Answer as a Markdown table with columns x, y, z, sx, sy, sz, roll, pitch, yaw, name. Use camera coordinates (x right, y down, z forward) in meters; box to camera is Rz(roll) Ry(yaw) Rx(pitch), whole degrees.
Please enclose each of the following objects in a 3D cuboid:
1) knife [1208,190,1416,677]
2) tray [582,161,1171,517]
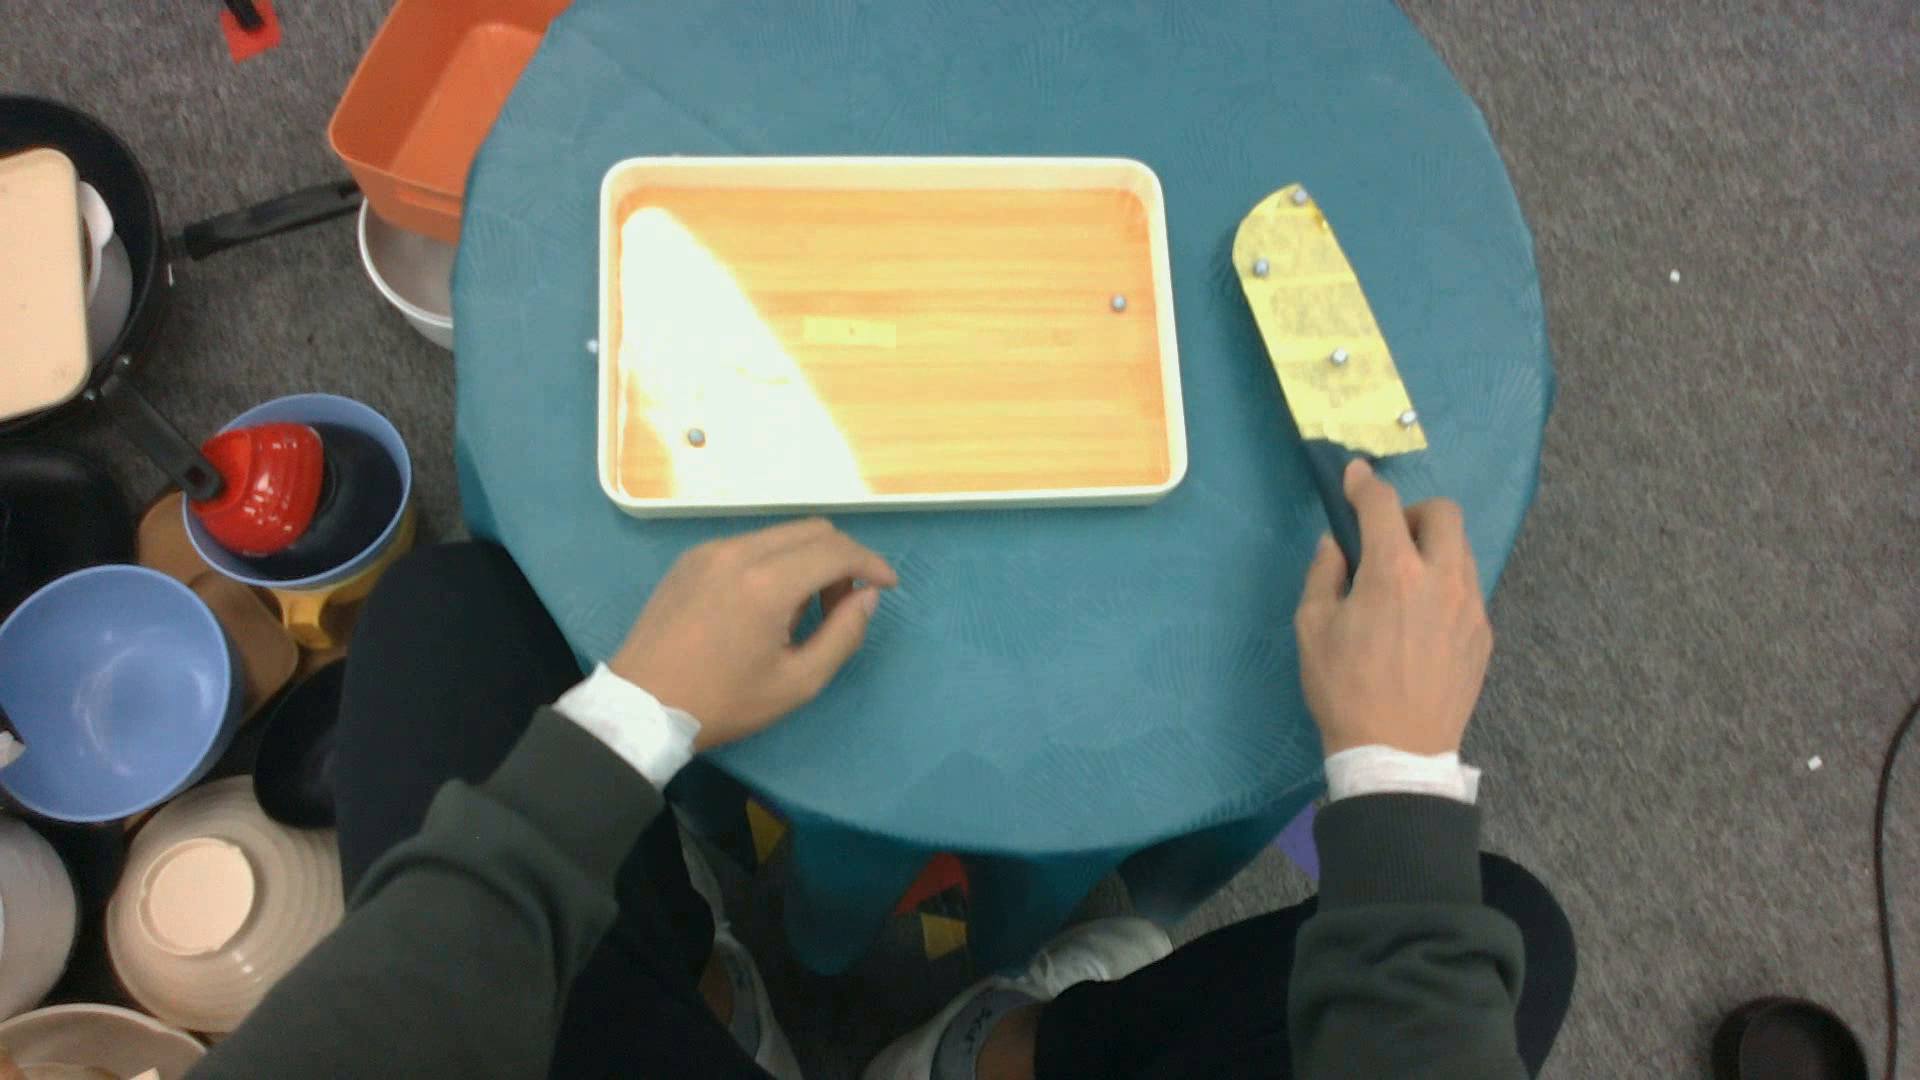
| x | y | z | sx | sy | sz | roll | pitch | yaw | name |
| --- | --- | --- | --- | --- | --- | --- | --- | --- | --- |
| 0.196 | -0.067 | 0.734 | 0.081 | 0.027 | 0.290 | -6 | 69 | -17 | knife |
| -0.044 | -0.109 | 0.730 | 0.300 | 0.027 | 0.192 | -2 | 75 | -6 | tray |
